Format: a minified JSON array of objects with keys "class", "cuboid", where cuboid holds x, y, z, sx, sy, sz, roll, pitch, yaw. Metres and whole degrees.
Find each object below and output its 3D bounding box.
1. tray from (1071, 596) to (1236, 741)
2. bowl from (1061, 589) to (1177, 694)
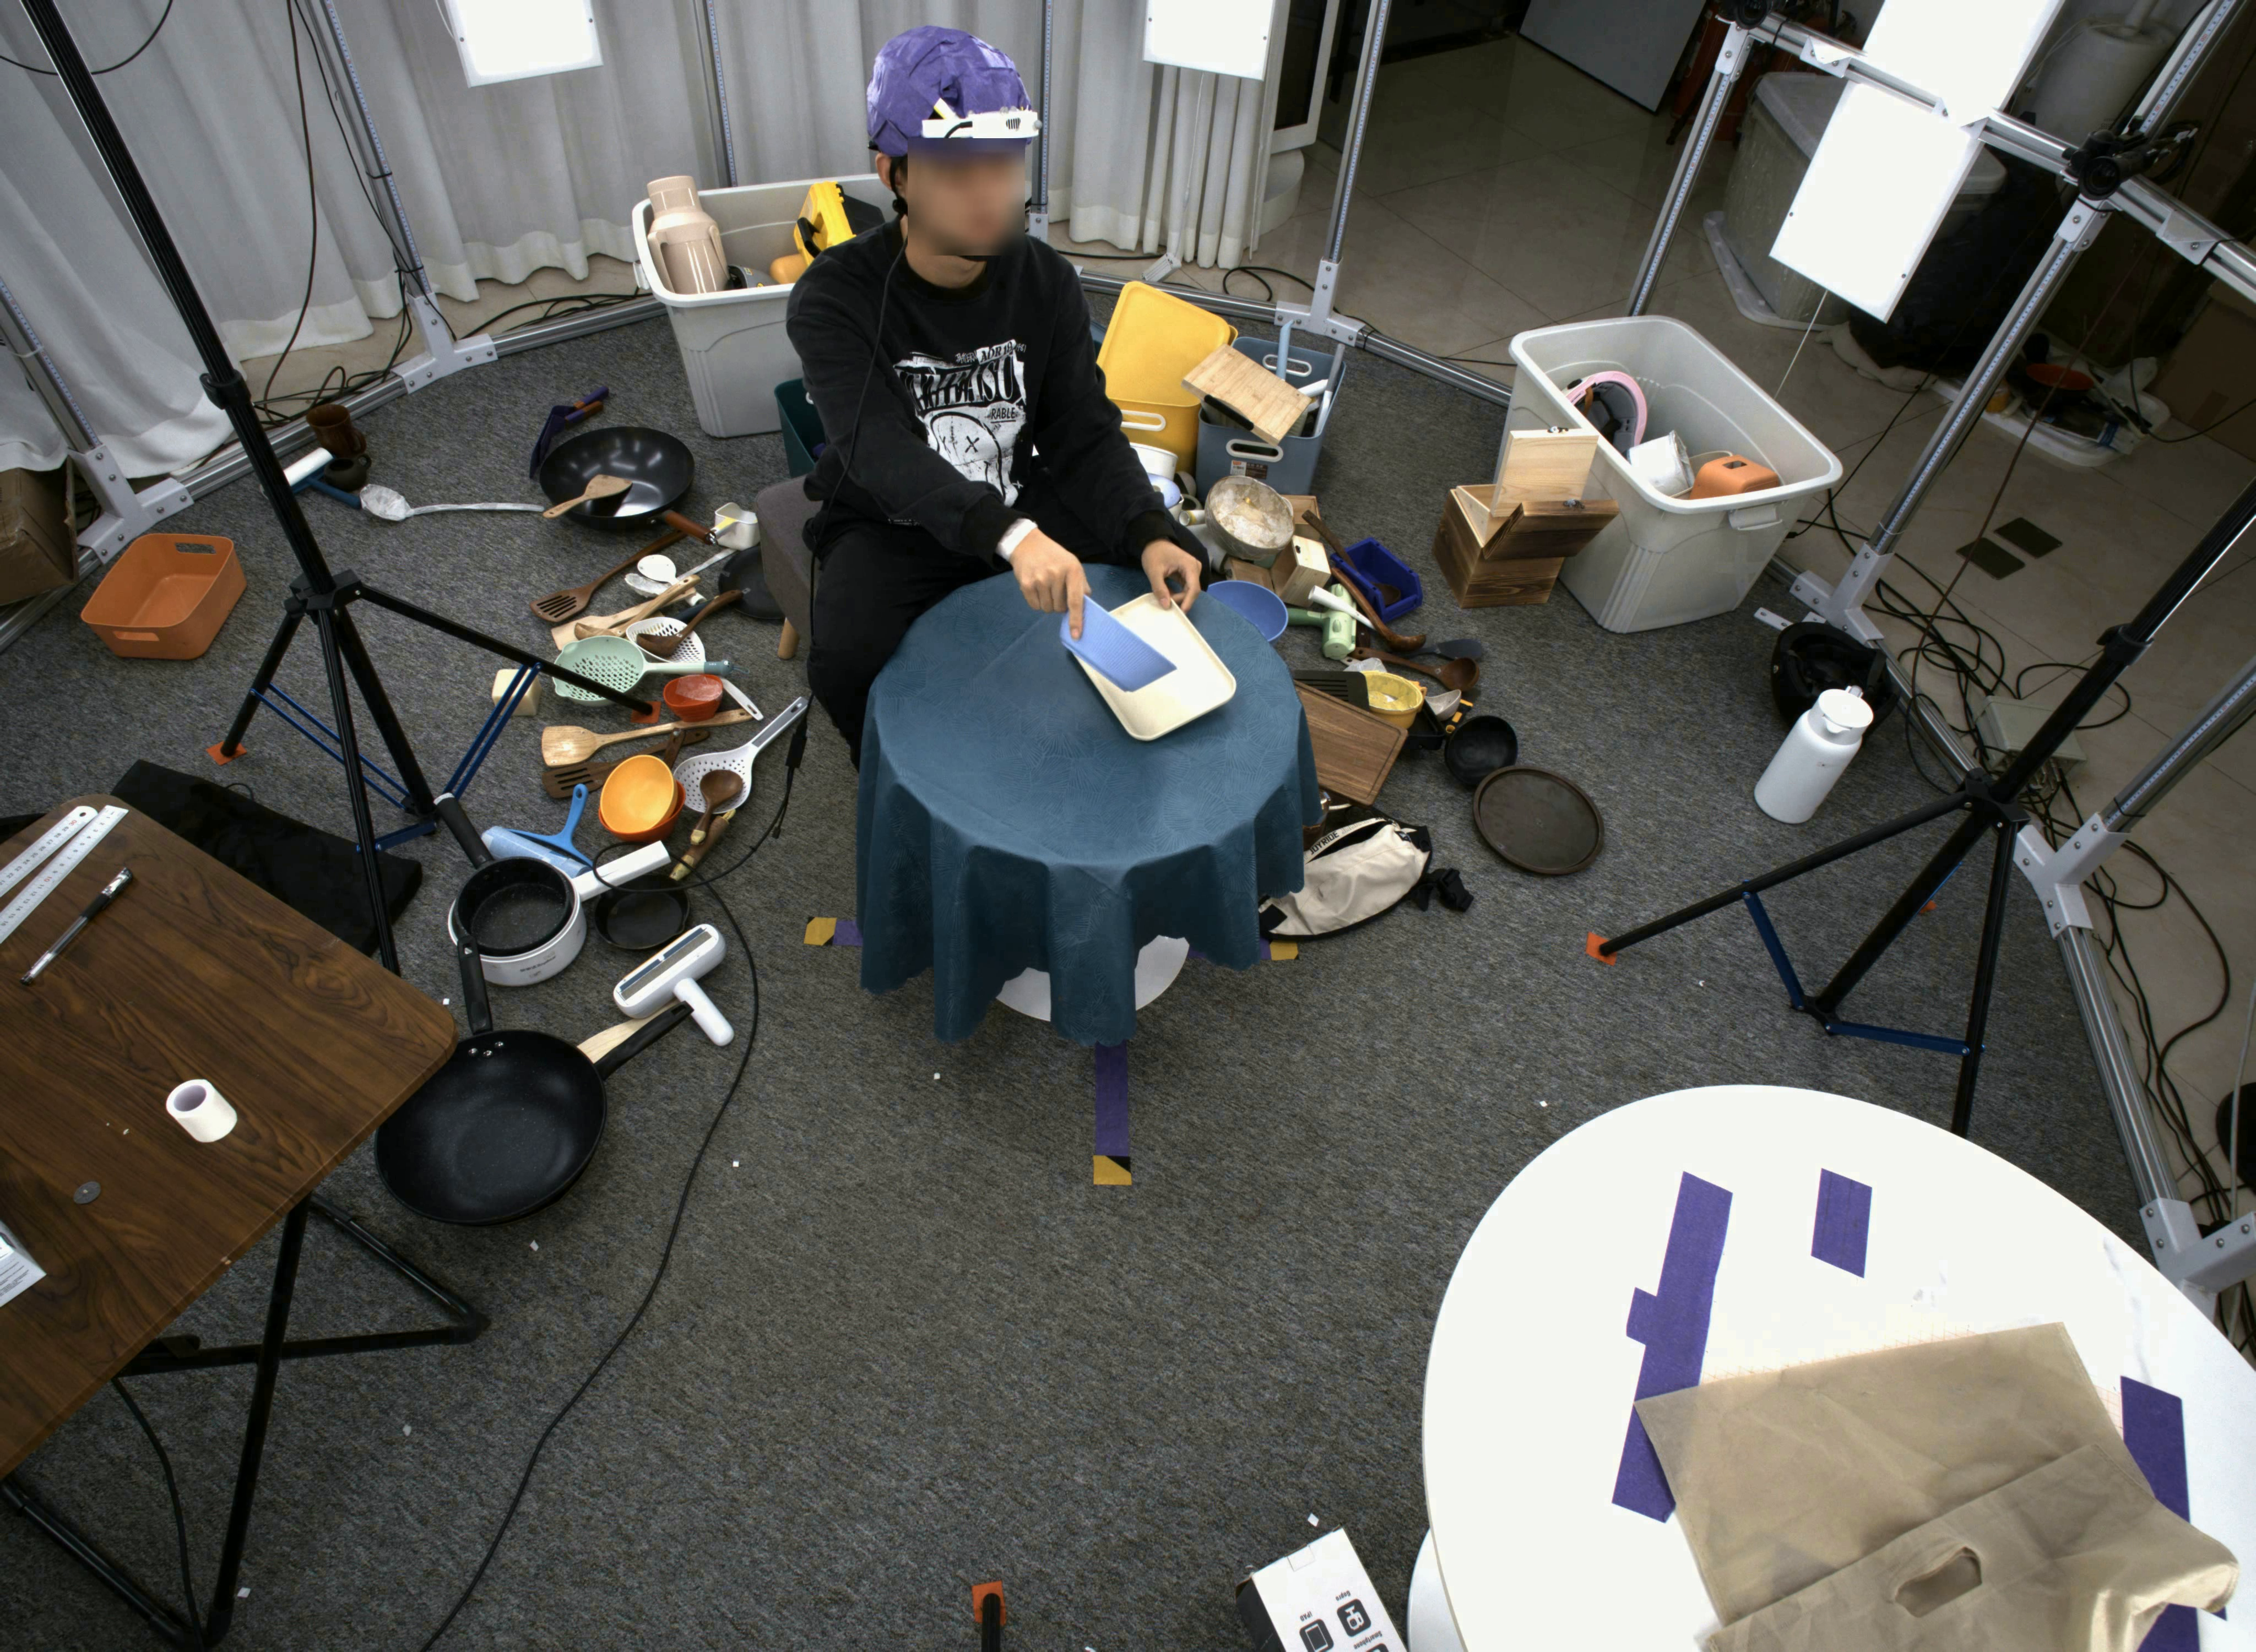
[{"class":"tray","cuboid":[0.034,-0.229,1.854,0.171,0.017,0.245,-27,55,-10]},{"class":"bowl","cuboid":[-0.023,-0.234,1.693,0.179,0.173,0.070,40,94,26]}]
